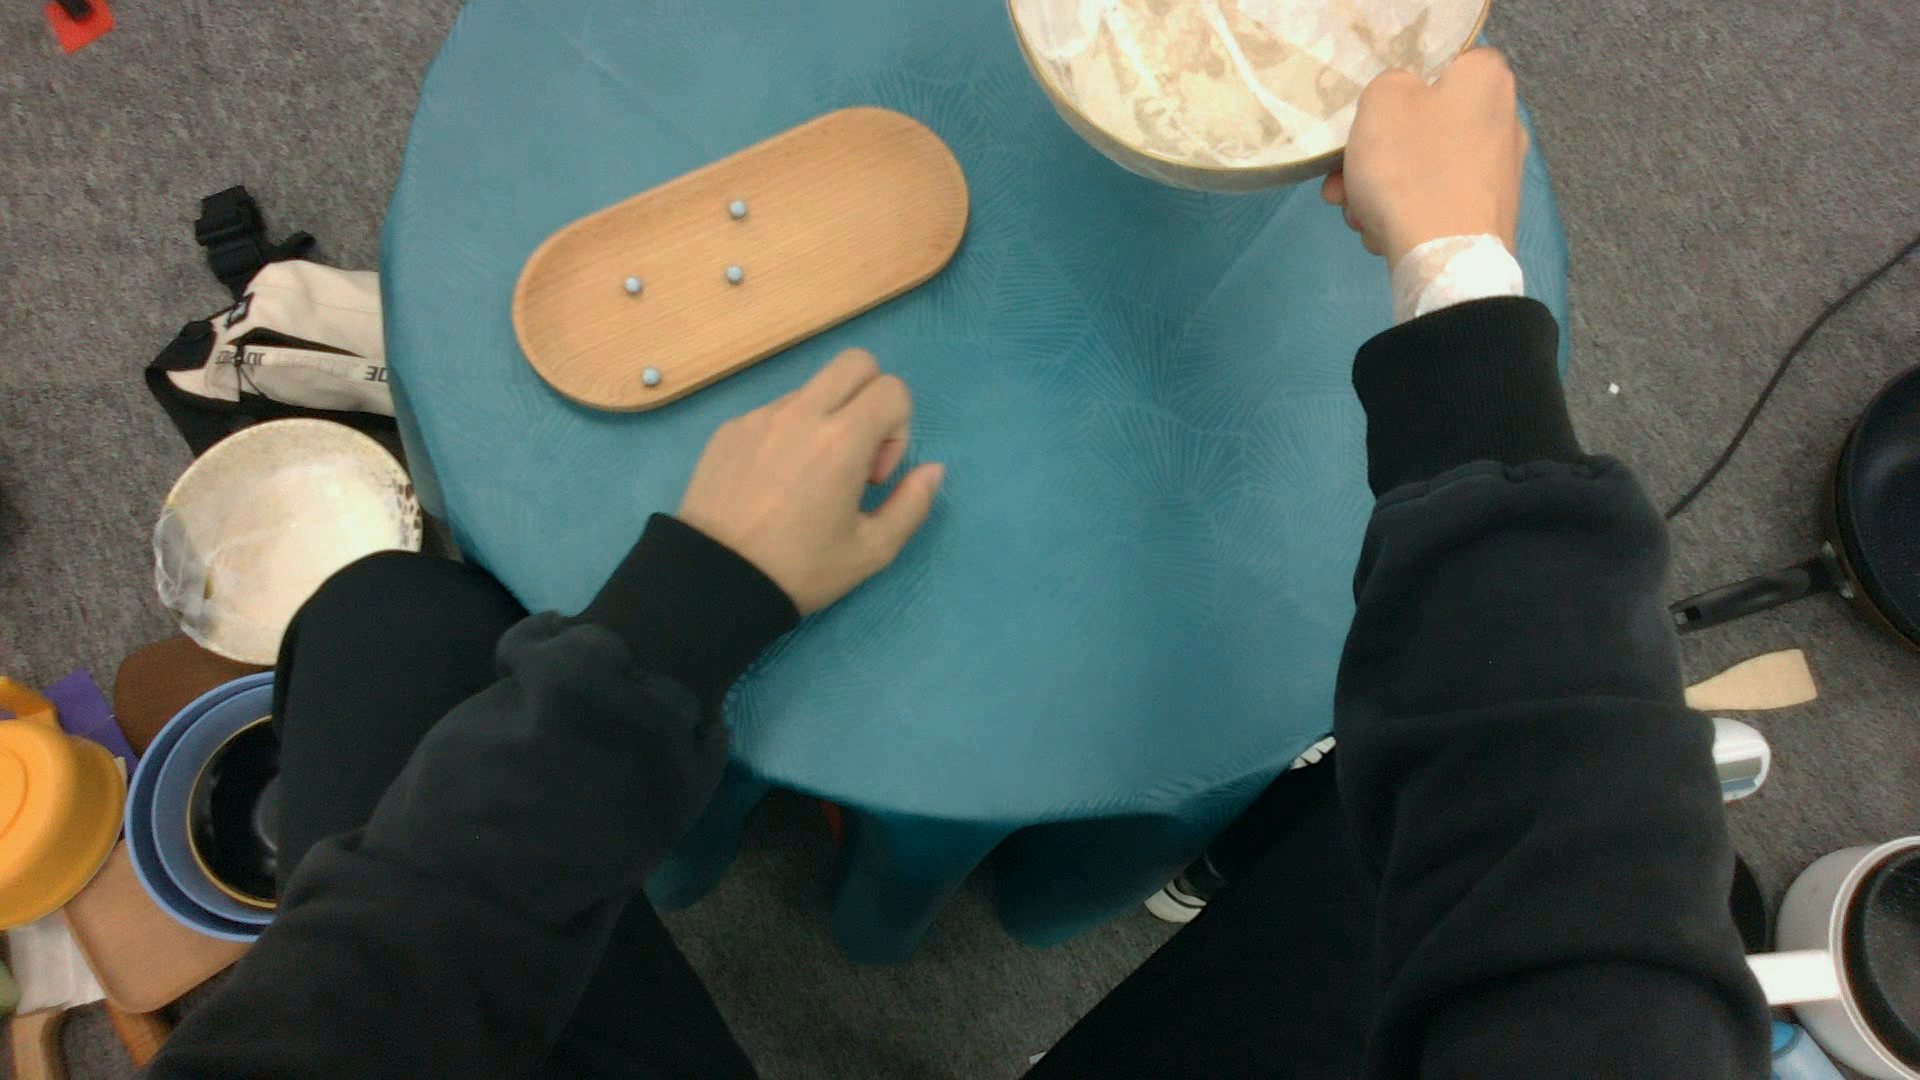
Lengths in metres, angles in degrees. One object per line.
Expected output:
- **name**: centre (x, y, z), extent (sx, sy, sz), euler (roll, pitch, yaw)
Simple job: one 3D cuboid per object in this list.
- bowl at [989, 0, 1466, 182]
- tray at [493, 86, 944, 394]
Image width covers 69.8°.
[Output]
- **bowl**: centre (0.113, -0.245, 0.610), extent (0.214, 0.094, 0.215), euler (-1, 83, 8)
- **tray**: centre (-0.114, -0.148, 0.674), extent (0.232, 0.020, 0.102), euler (-29, 82, -16)
